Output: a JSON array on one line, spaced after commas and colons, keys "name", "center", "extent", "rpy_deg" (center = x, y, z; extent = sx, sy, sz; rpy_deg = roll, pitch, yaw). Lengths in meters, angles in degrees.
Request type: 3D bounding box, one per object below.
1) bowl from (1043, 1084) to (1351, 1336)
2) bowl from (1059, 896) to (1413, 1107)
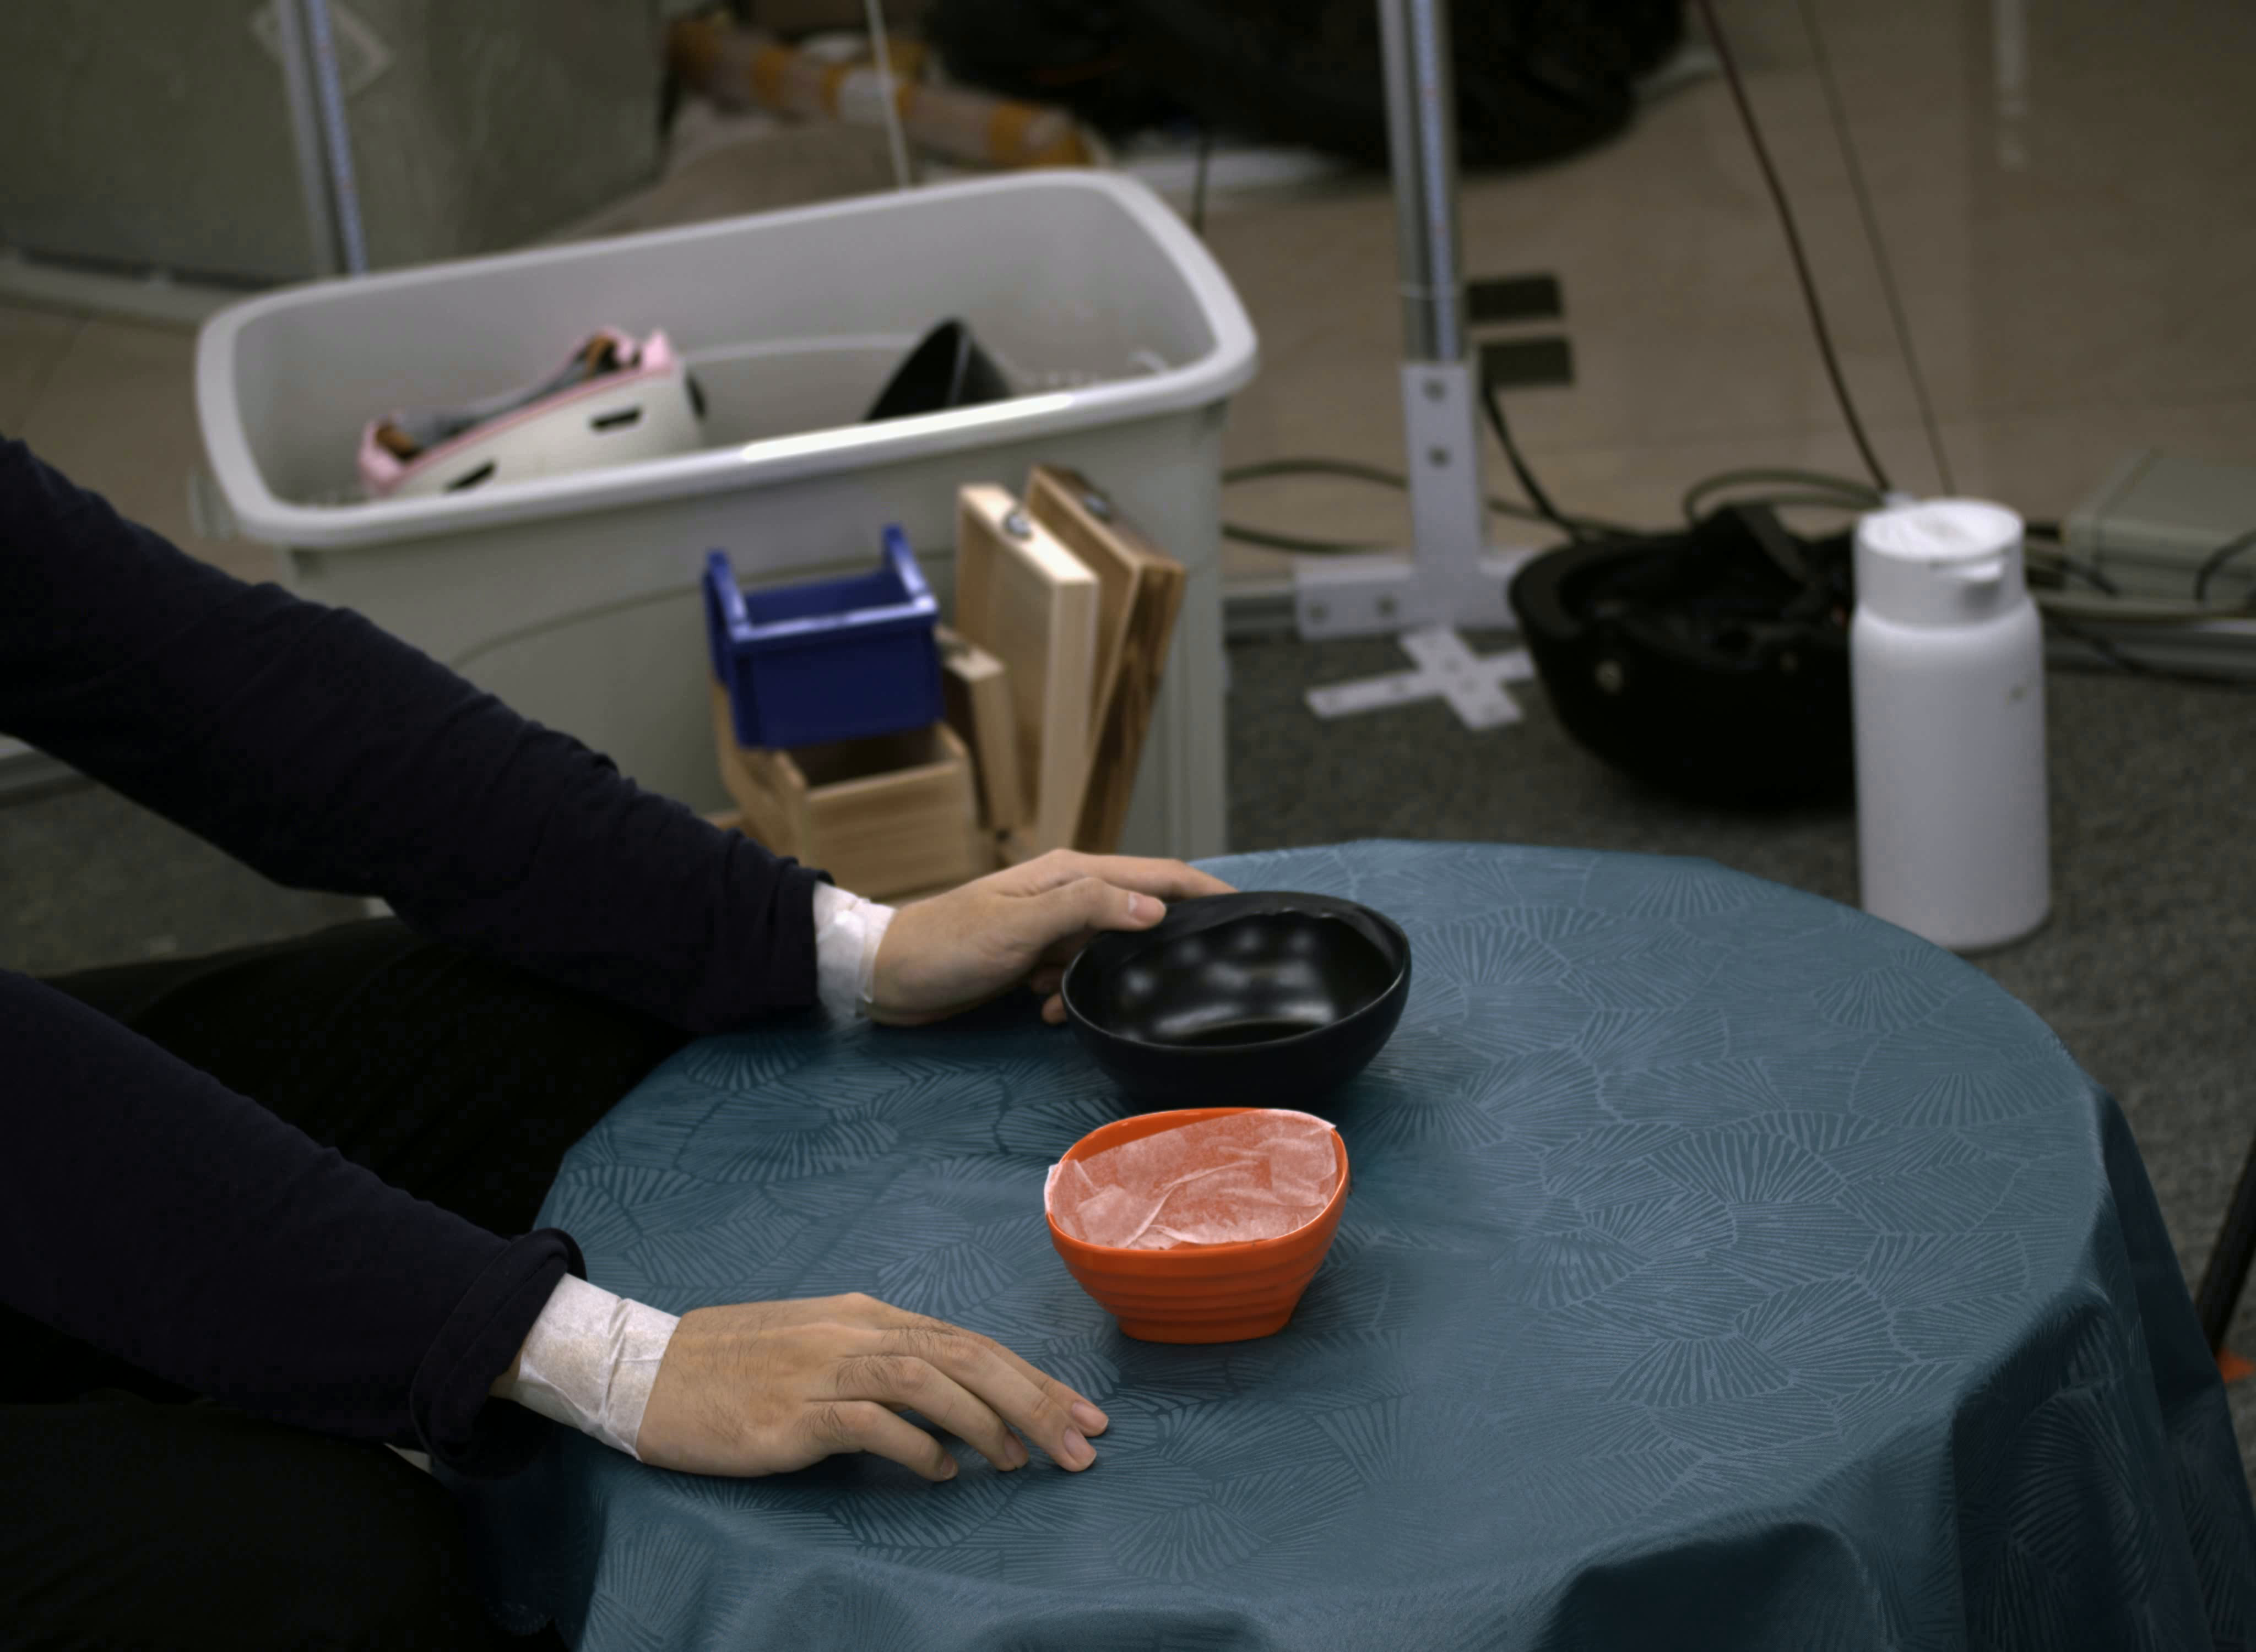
[{"name": "bowl", "center": [0.026, 0.145, 2.058], "extent": [0.119, 0.052, 0.117], "rpy_deg": [-2, 32, 2]}, {"name": "bowl", "center": [0.045, 0.079, 2.217], "extent": [0.140, 0.050, 0.138], "rpy_deg": [-9, 24, 4]}]
